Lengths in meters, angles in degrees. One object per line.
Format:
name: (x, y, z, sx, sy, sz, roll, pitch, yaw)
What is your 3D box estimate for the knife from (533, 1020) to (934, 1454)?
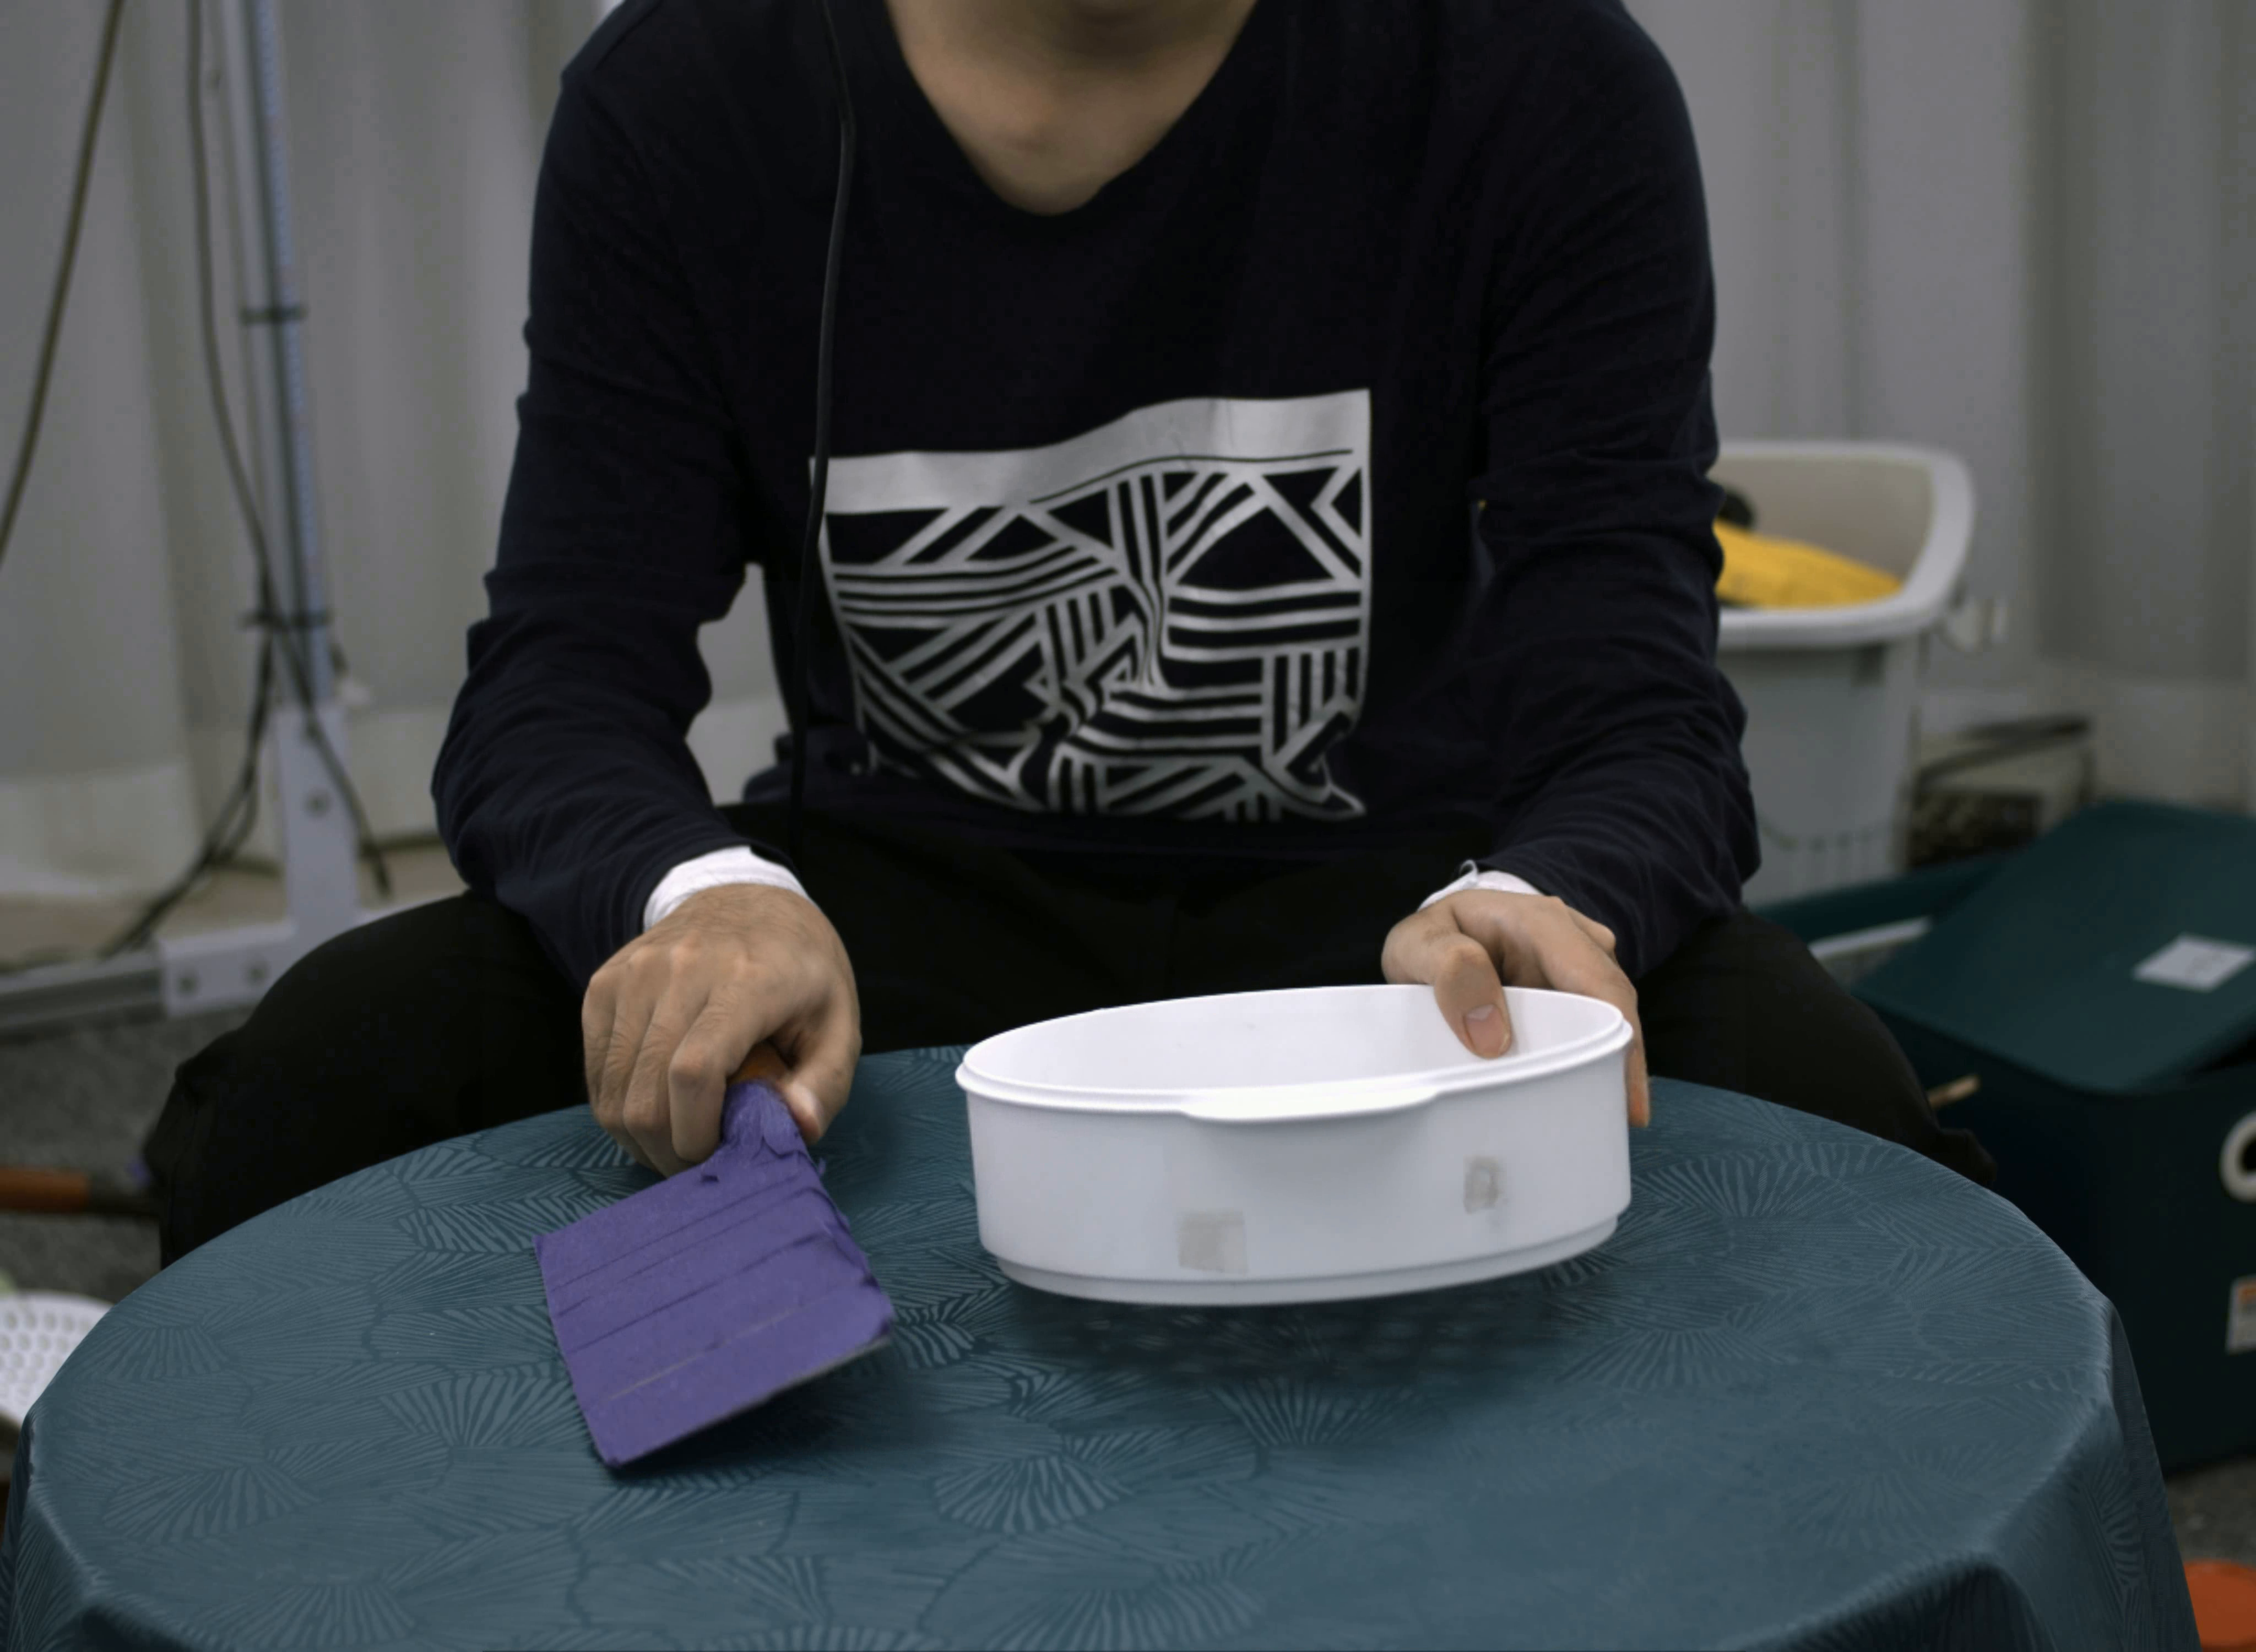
knife: (-0.133, 0.119, 1.645, 0.103, 0.032, 0.317, -22, 15, -7)

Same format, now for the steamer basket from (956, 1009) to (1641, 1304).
steamer basket: (0.051, 0.097, 1.611, 0.201, 0.069, 0.231, -3, 4, 0)
